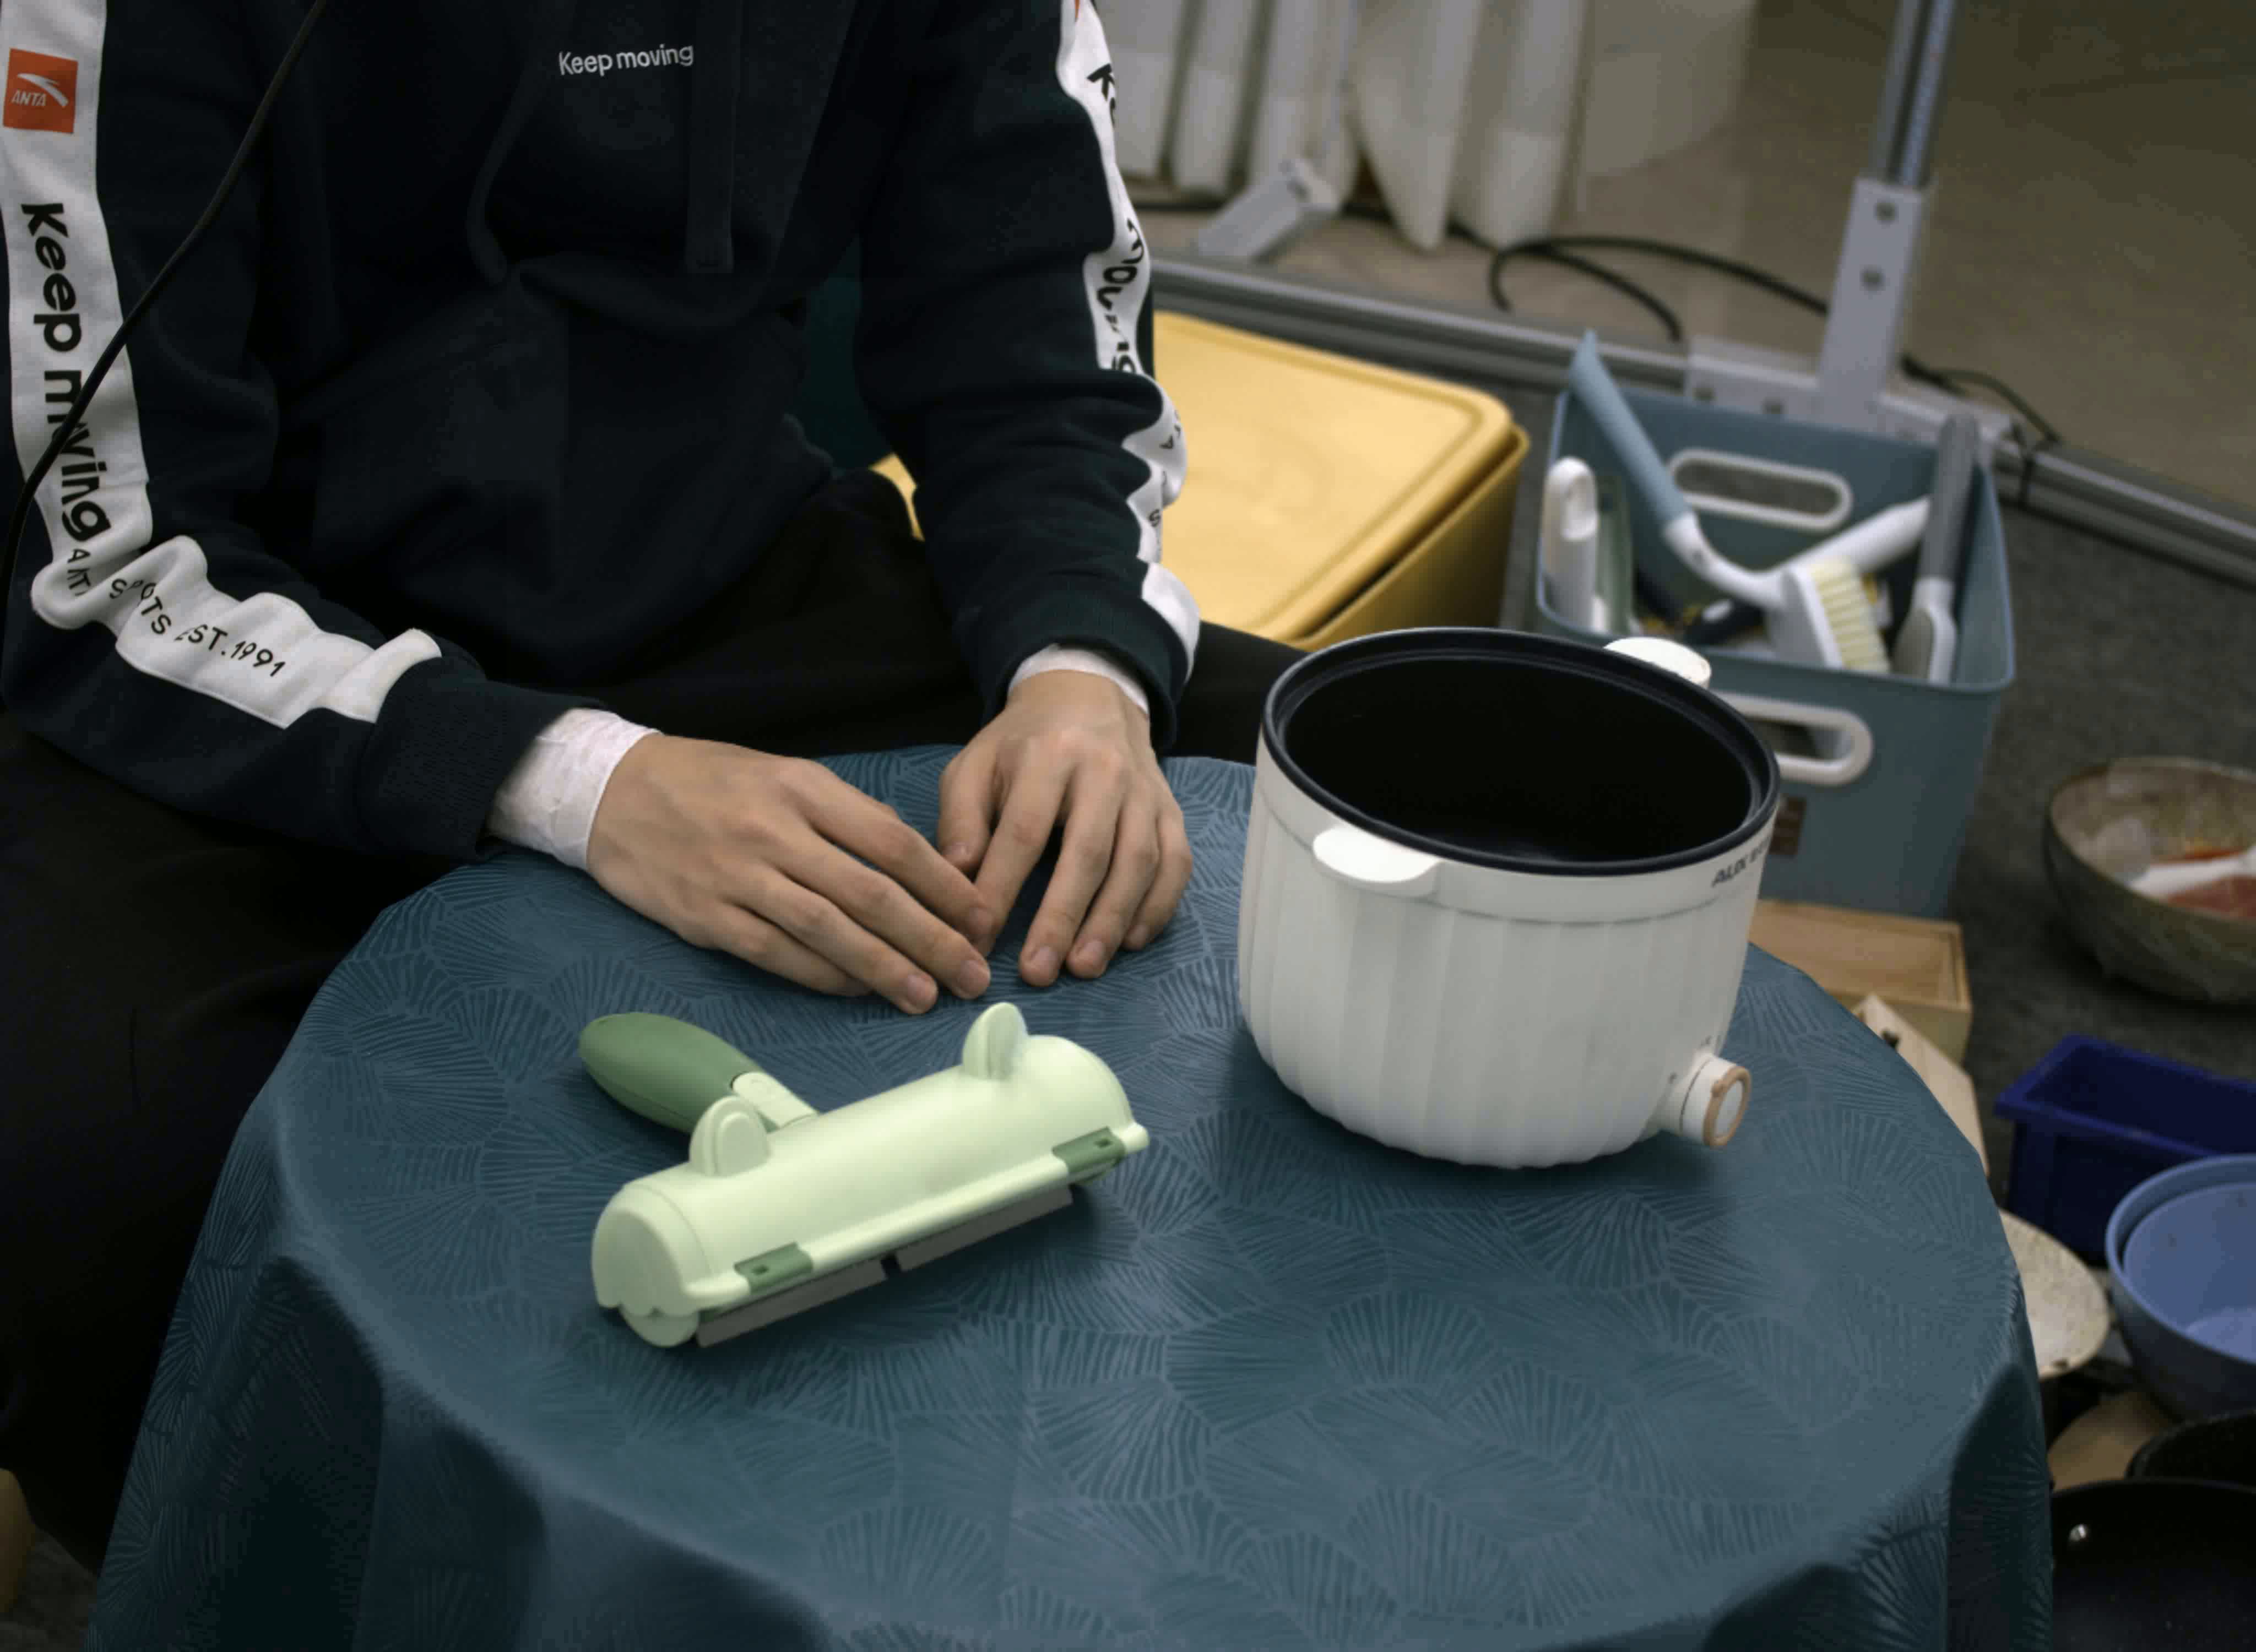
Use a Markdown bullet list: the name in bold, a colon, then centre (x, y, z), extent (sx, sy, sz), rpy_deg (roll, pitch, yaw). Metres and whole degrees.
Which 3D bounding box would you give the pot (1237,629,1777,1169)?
- **pot**: centre (0.133, 0.031, 1.859), extent (0.191, 0.142, 0.240), rpy_deg (18, 30, 28)

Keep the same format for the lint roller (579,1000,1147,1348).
- **lint roller**: centre (-0.121, 0.085, 1.764), extent (0.197, 0.082, 0.185), rpy_deg (-18, 41, -39)
